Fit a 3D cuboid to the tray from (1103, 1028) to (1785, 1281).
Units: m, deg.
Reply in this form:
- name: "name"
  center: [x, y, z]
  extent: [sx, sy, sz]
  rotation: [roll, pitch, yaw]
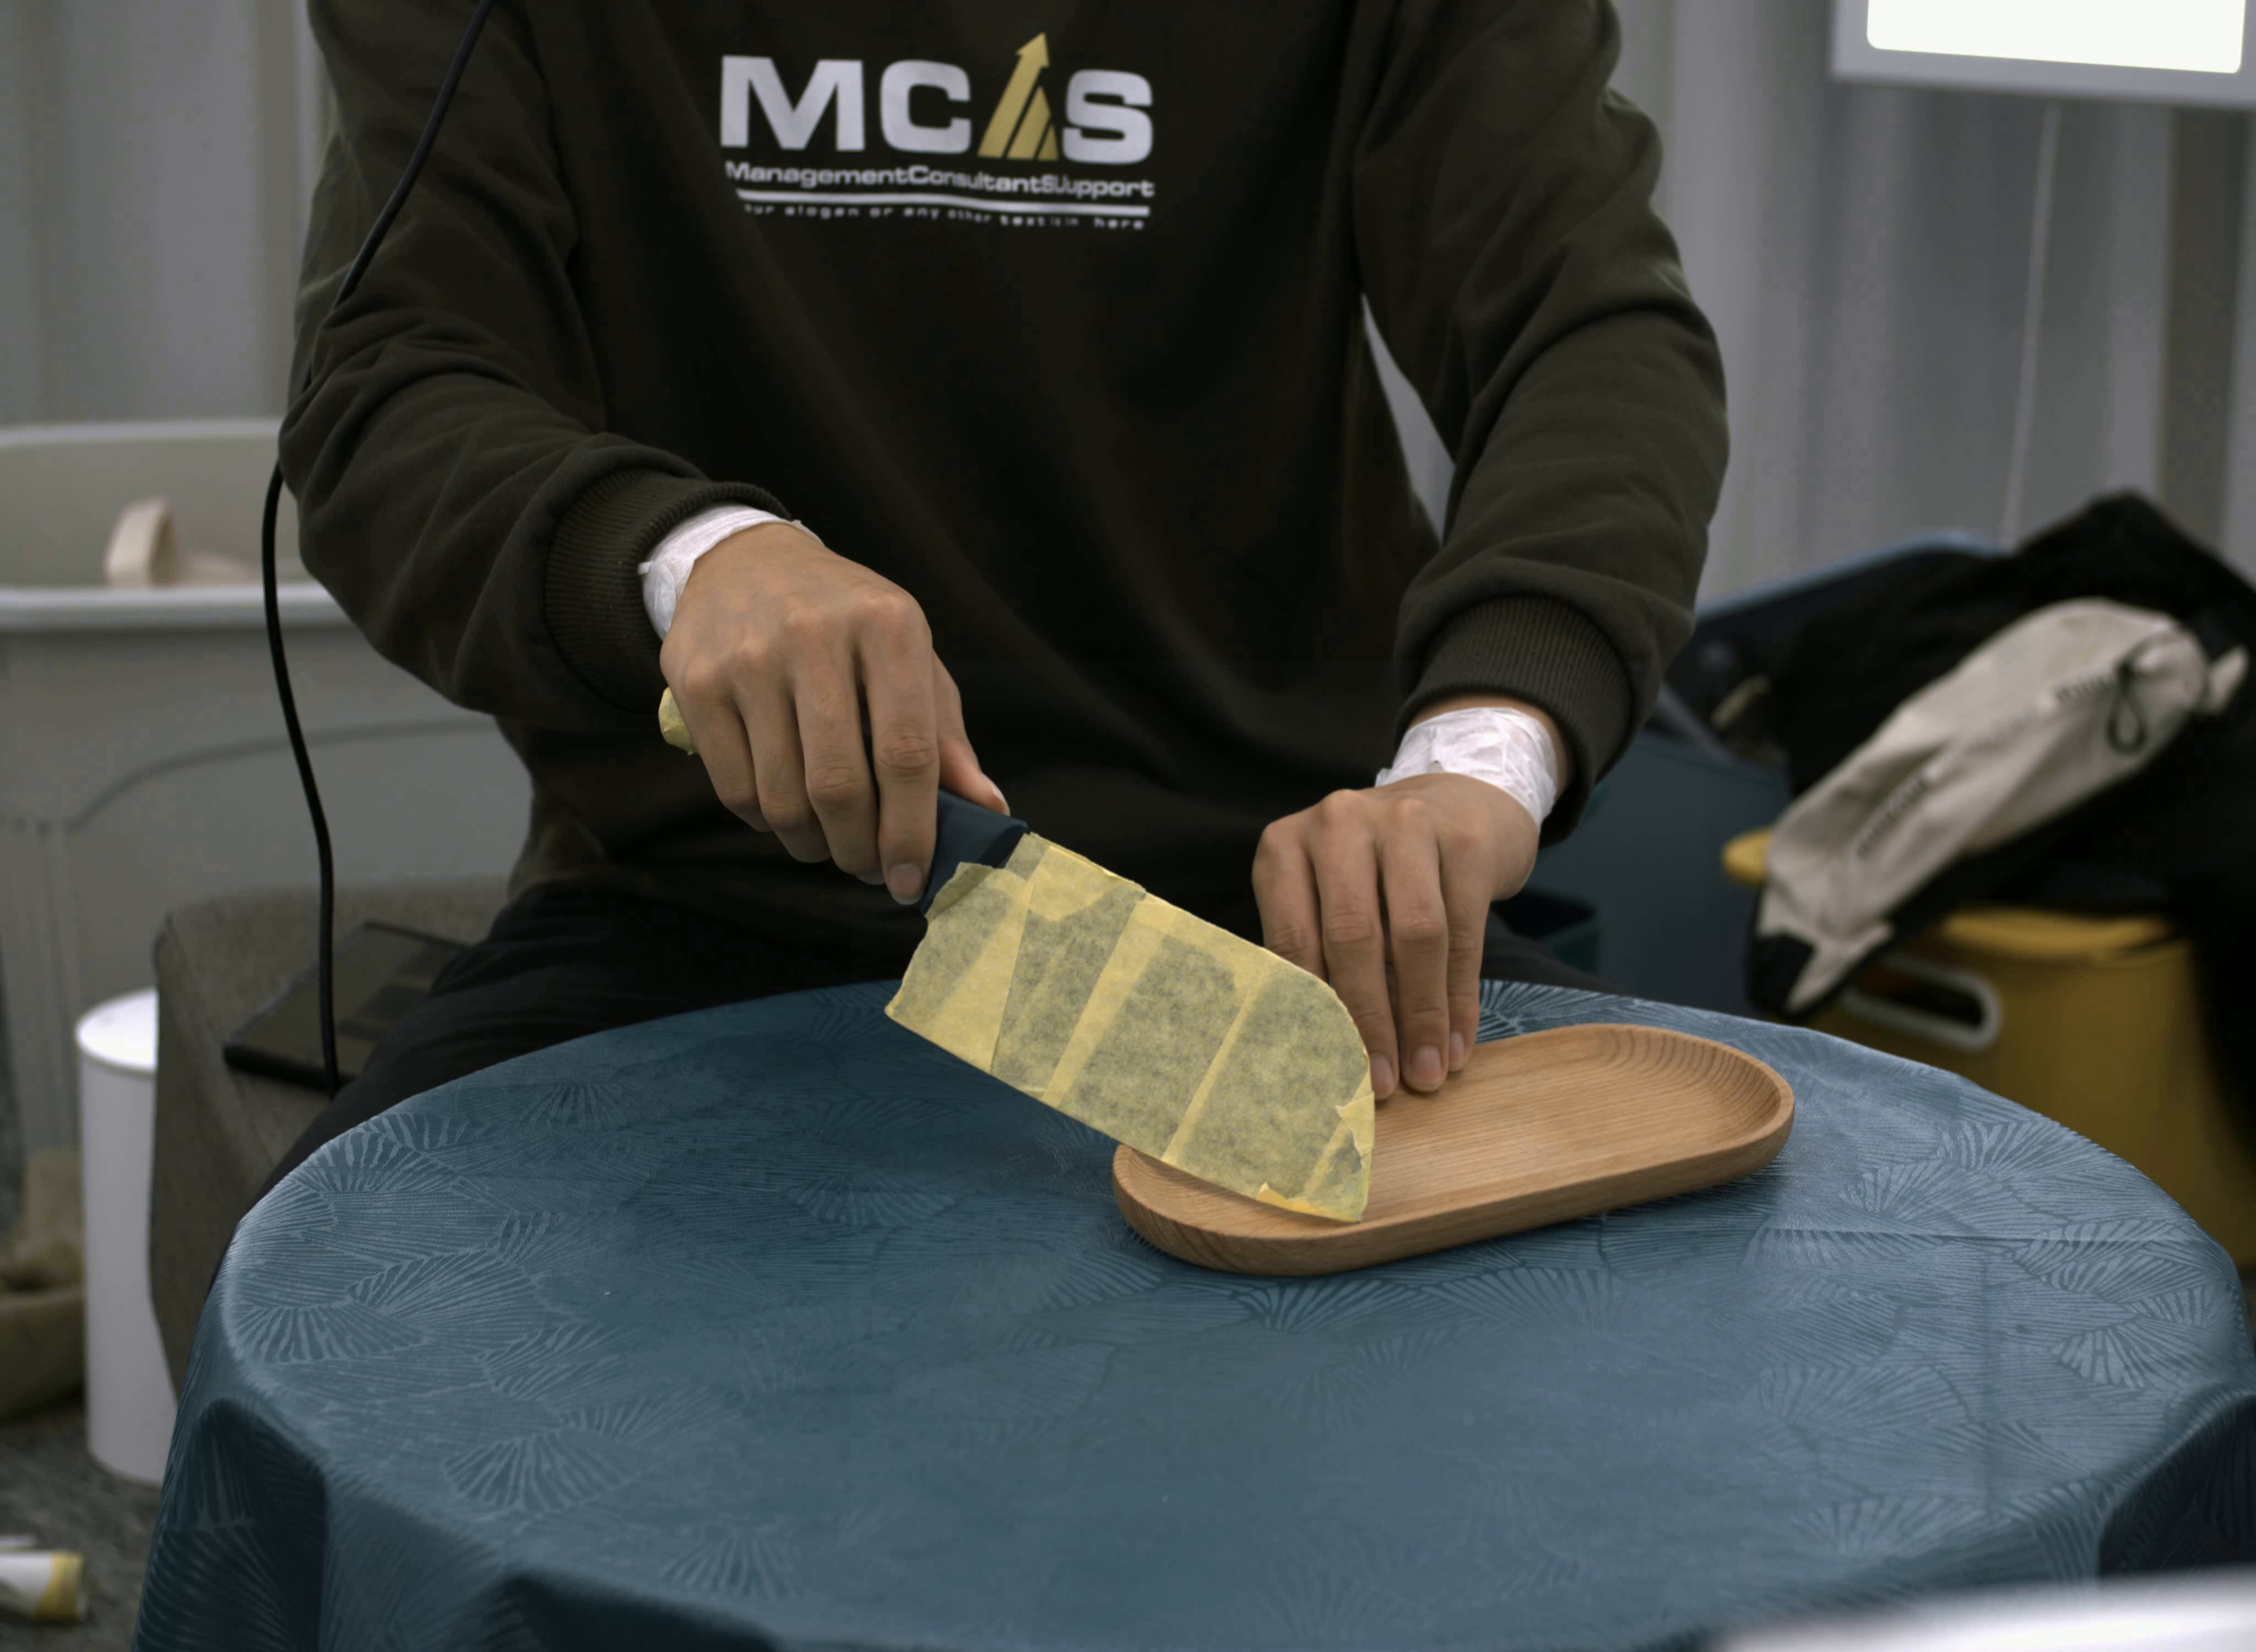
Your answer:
- name: "tray"
  center: [0.099, 0.101, 1.623]
  extent: [0.232, 0.020, 0.100]
  rotation: [-11, 24, -29]

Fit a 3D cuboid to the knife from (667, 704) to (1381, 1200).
- name: "knife"
  center: [-0.038, 0.037, 1.631]
  extent: [0.286, 0.081, 0.027]
  rotation: [29, -5, 26]
